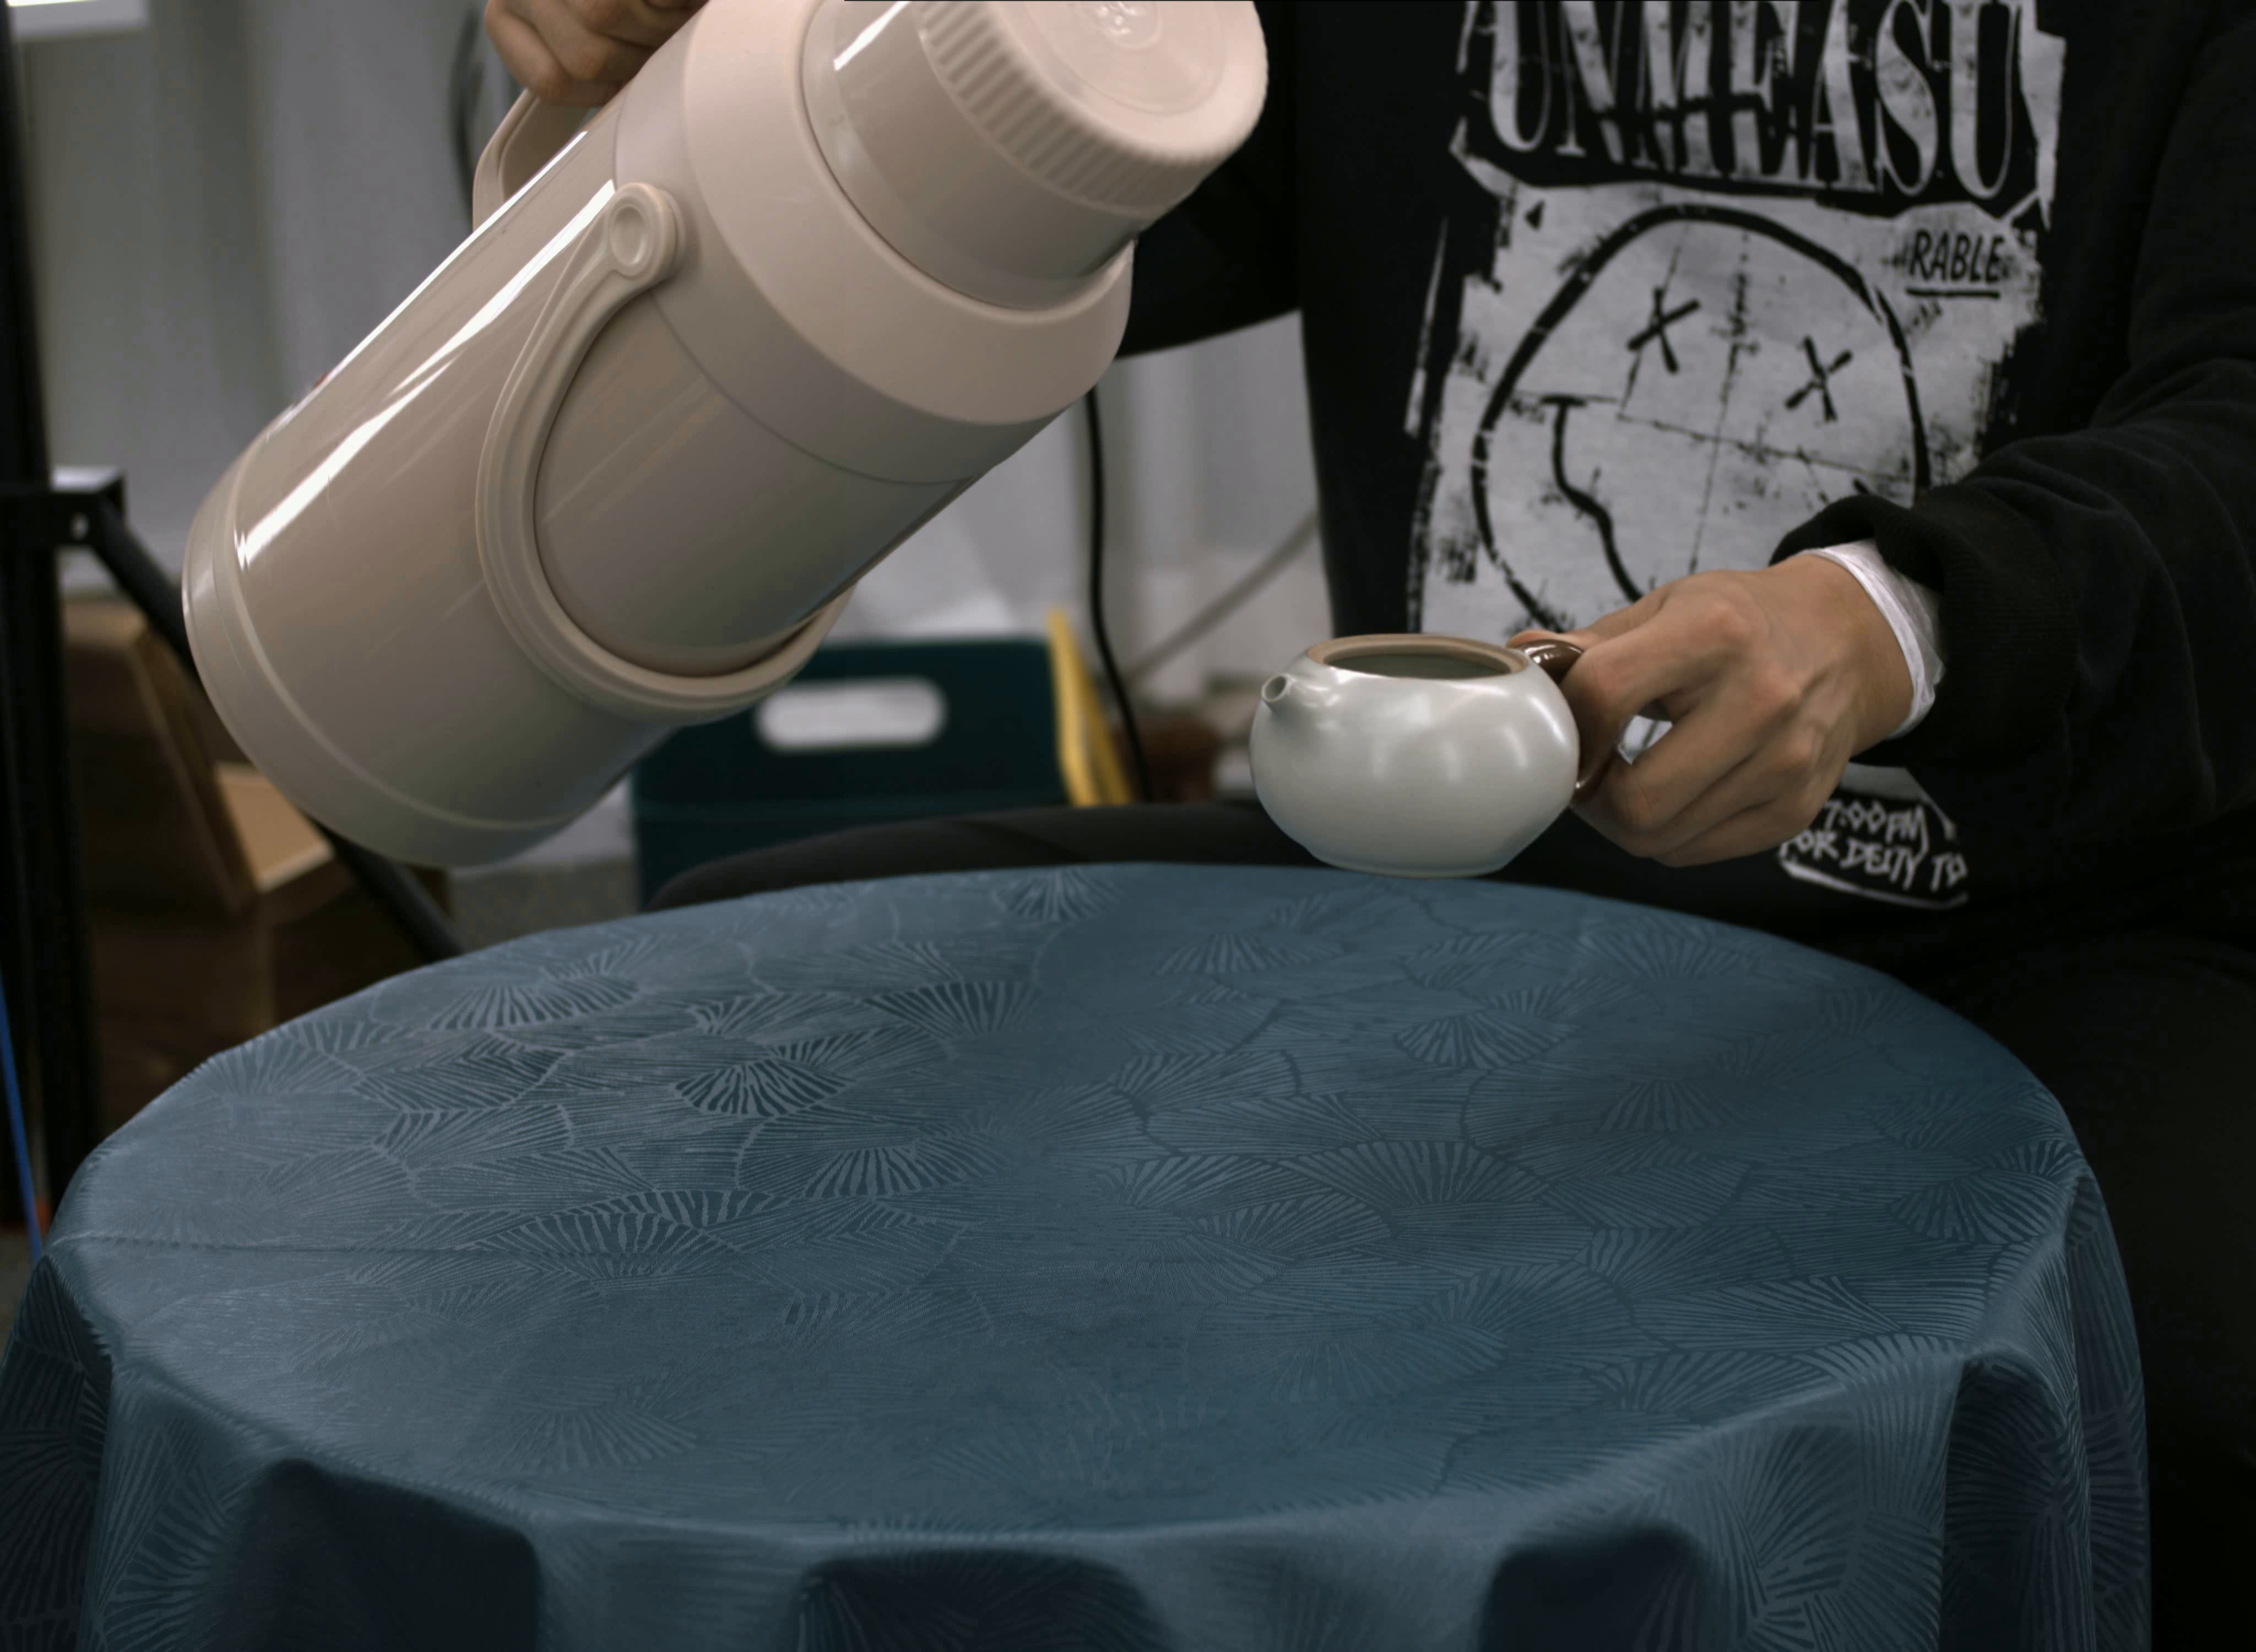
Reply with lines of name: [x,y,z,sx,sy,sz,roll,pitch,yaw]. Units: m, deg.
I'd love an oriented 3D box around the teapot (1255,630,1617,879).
teapot: [0.088,-0.021,1.471,0.125,0.059,0.094,-9,15,-38]

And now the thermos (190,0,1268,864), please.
thermos: [-0.124,-0.157,1.602,0.171,0.209,0.411,-8,-20,-41]
